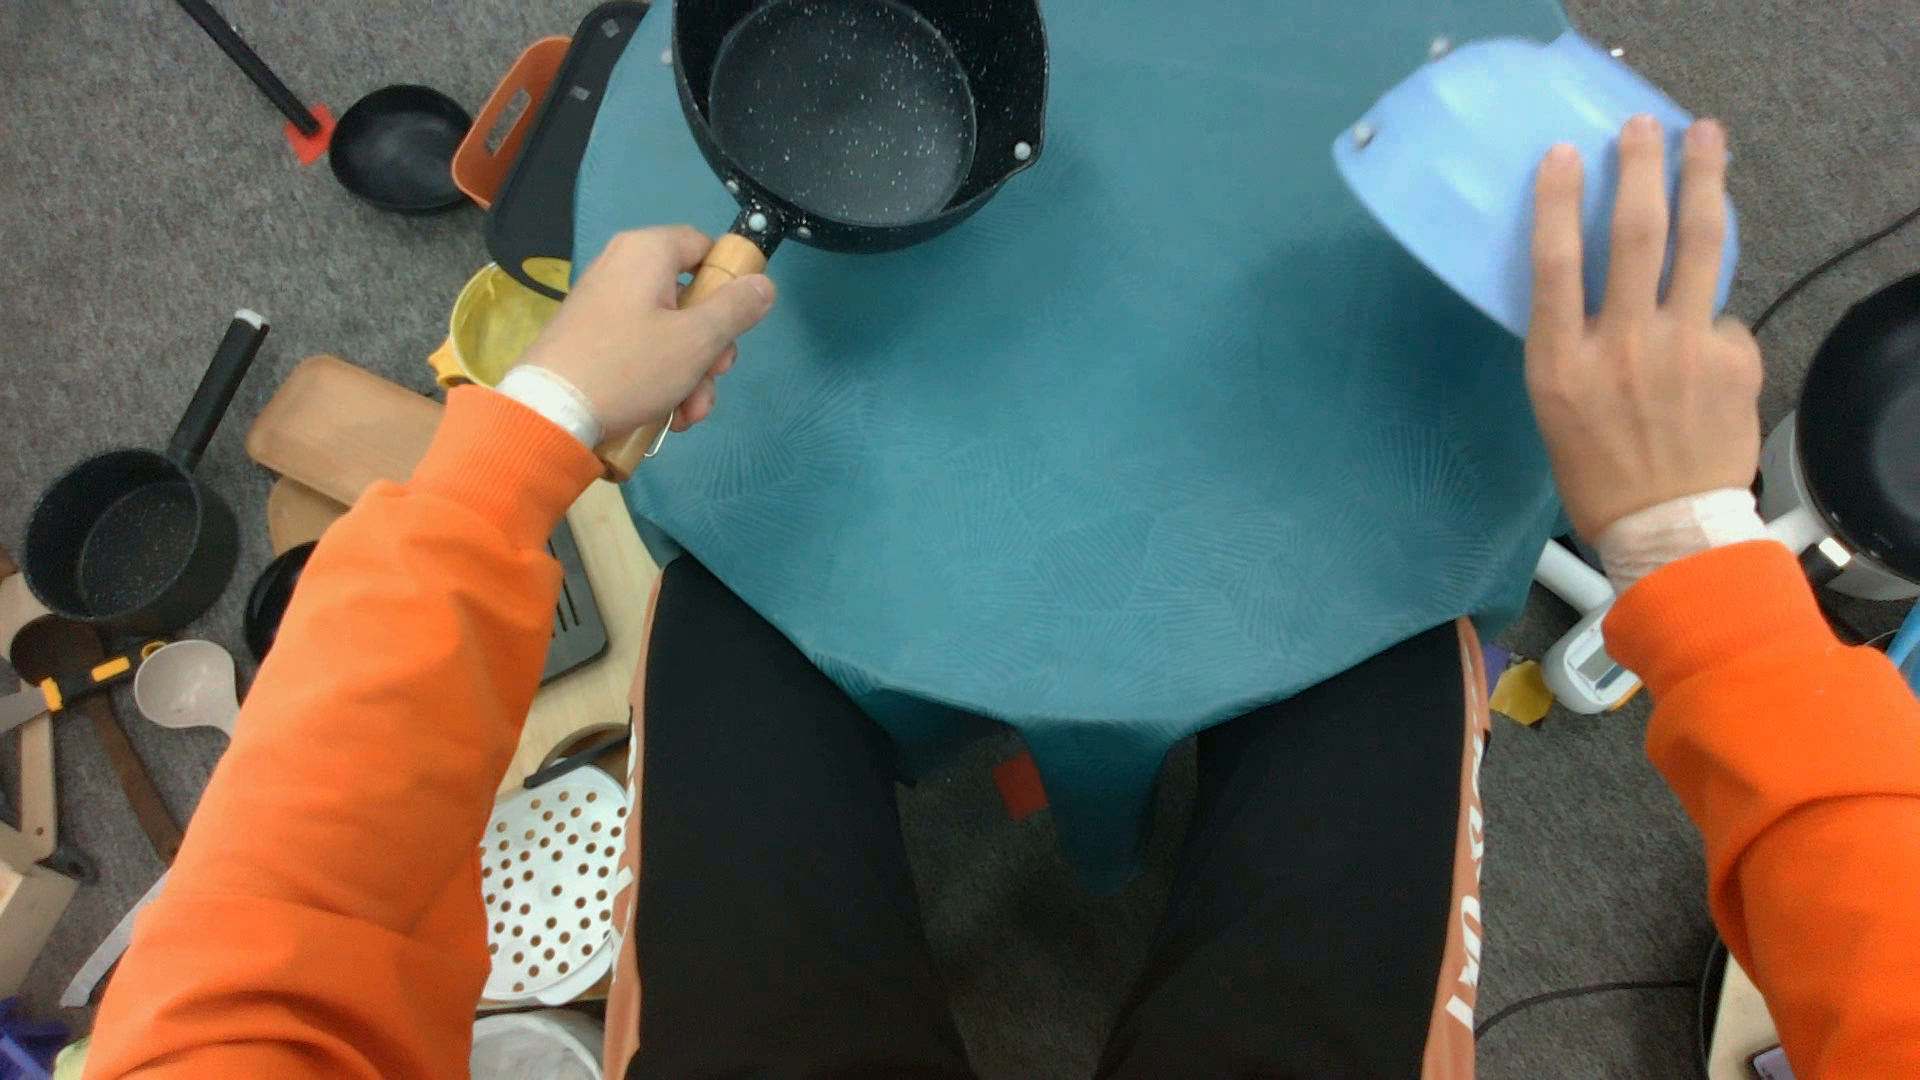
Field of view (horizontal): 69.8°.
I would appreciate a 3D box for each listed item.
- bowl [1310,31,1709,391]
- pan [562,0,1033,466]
[{"bbox_3d":[0.271,-0.169,0.640,0.196,0.197,0.095,45,122,14],"label":"bowl"},{"bbox_3d":[-0.095,-0.174,0.681,0.207,0.108,0.343,29,75,-9],"label":"pan"}]
